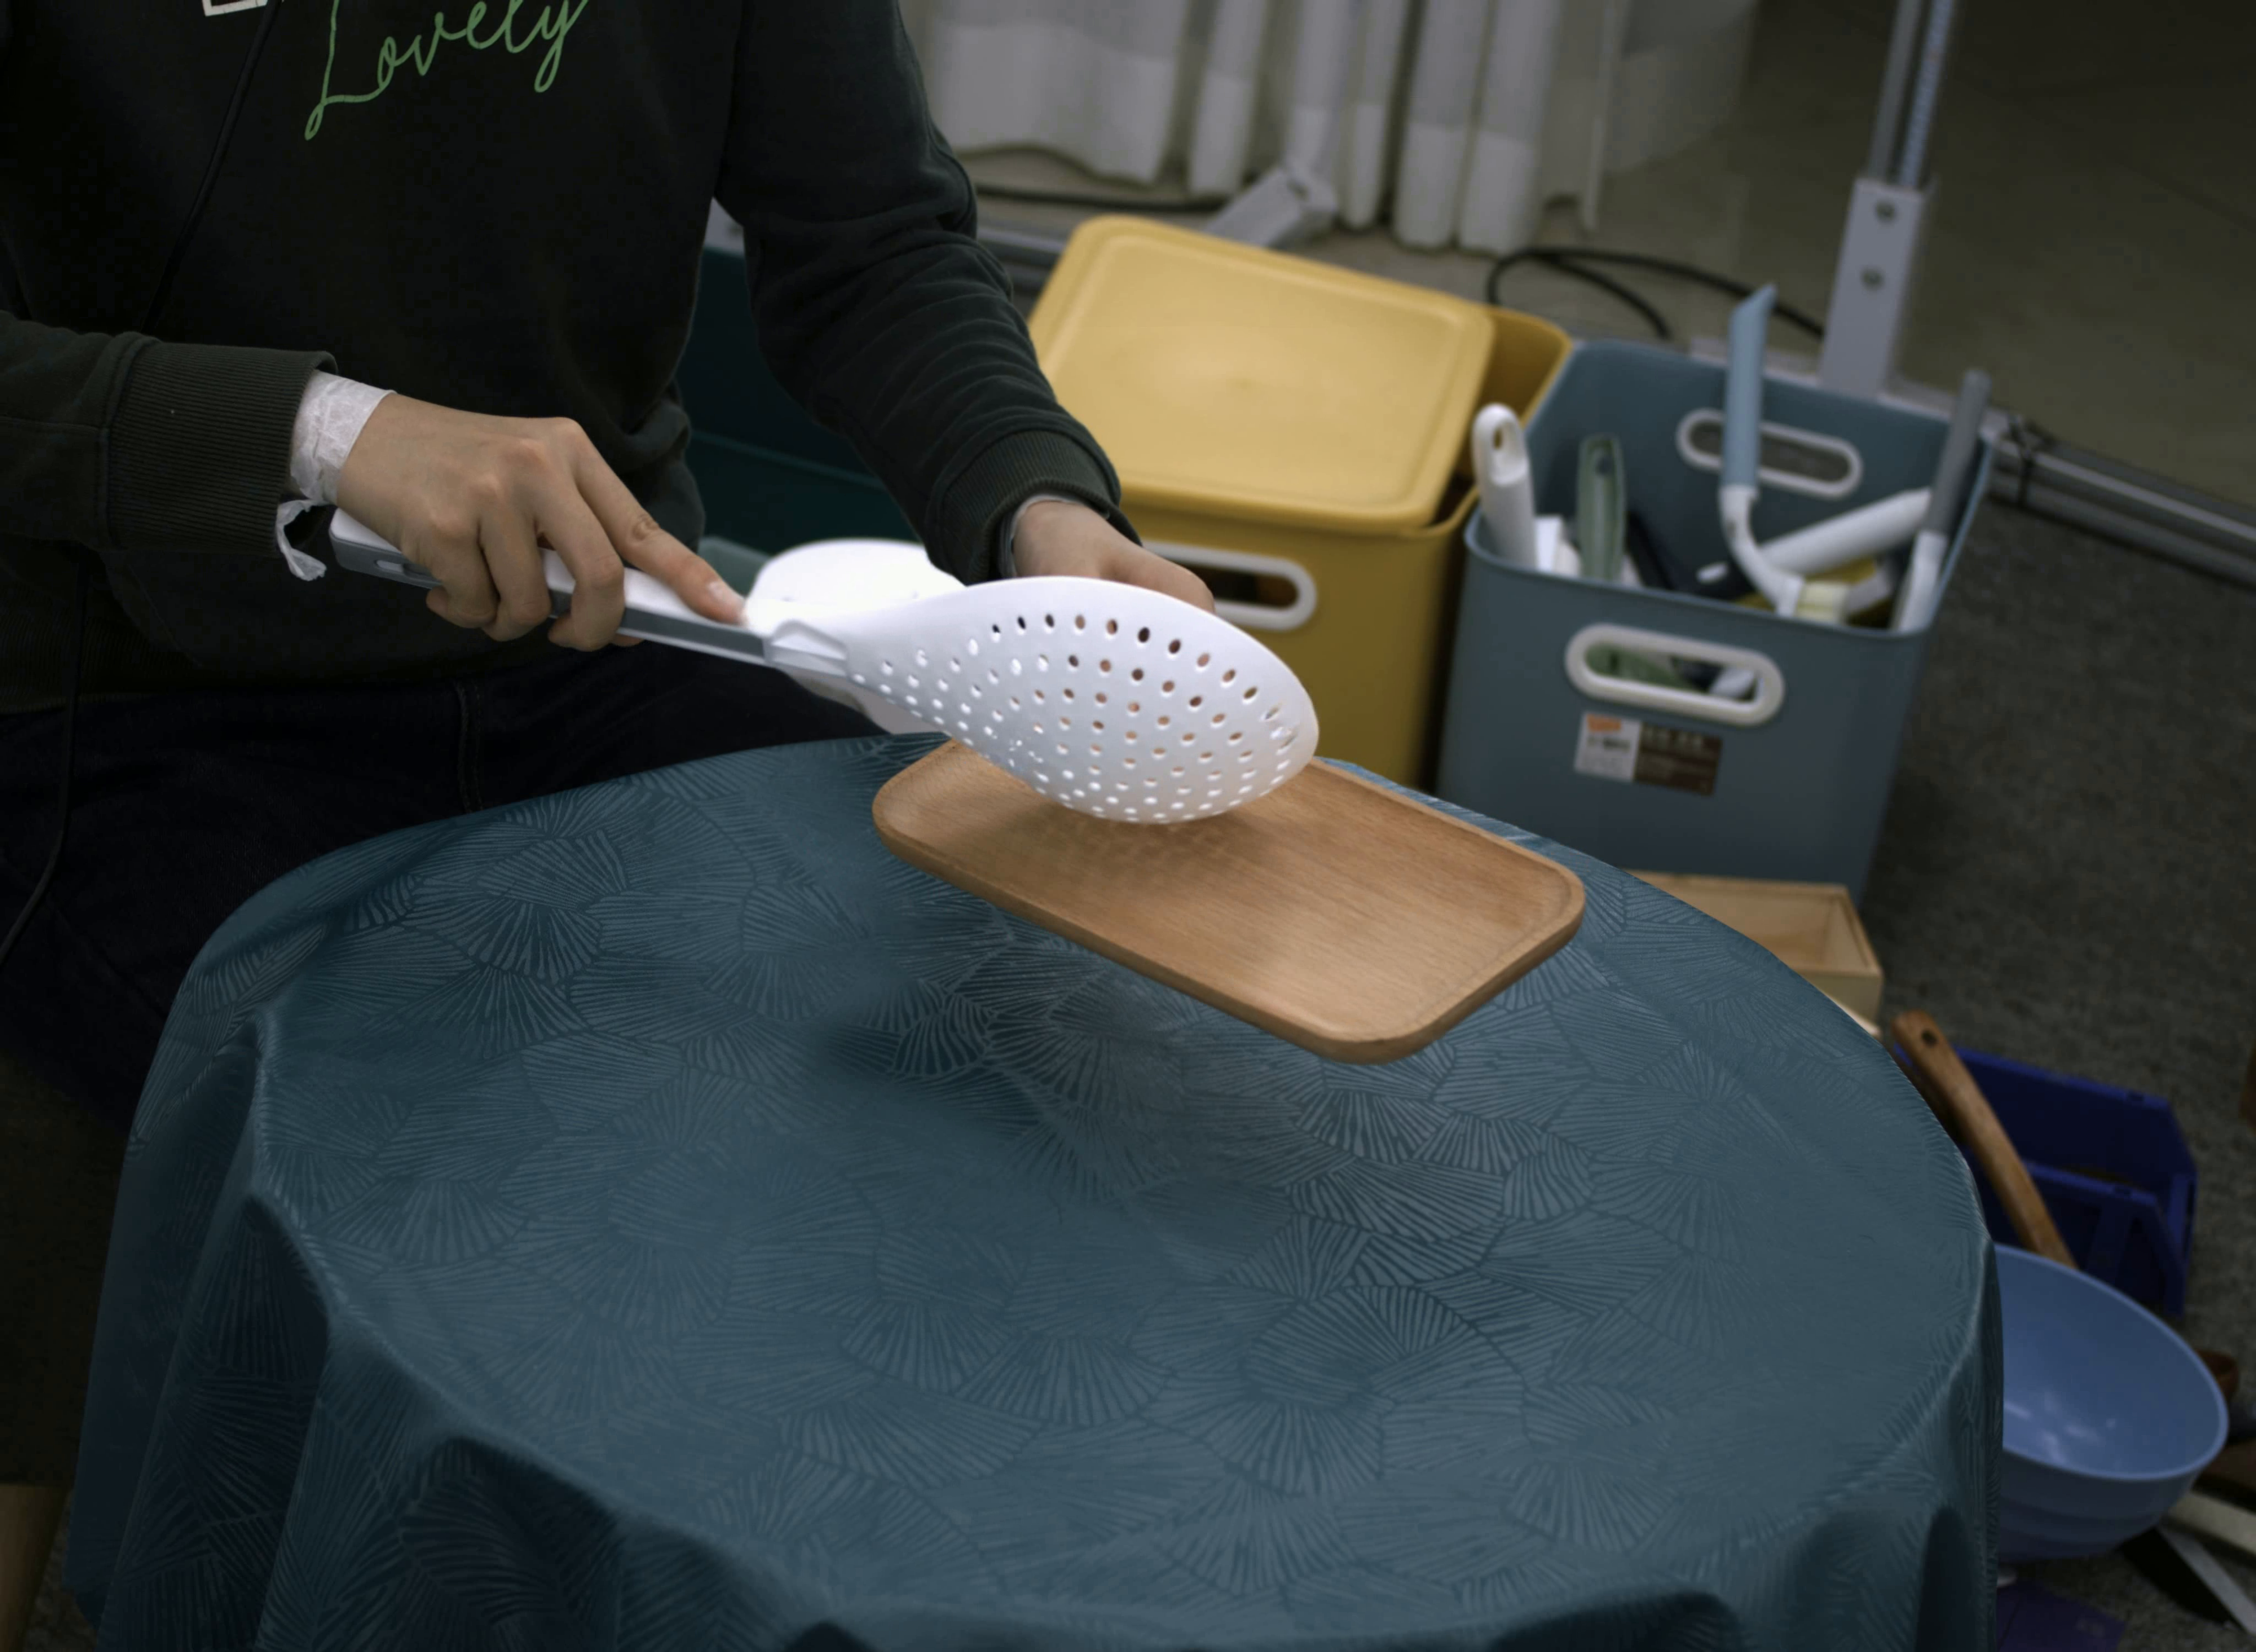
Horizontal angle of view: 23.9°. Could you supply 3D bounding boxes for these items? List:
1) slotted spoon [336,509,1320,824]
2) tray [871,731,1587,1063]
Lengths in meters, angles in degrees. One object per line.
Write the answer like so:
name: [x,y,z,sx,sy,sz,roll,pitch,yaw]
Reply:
slotted spoon: [-0.106,-0.064,1.827,0.350,0.135,0.046,16,59,12]
tray: [0.032,0.012,1.833,0.252,0.023,0.130,23,41,38]
